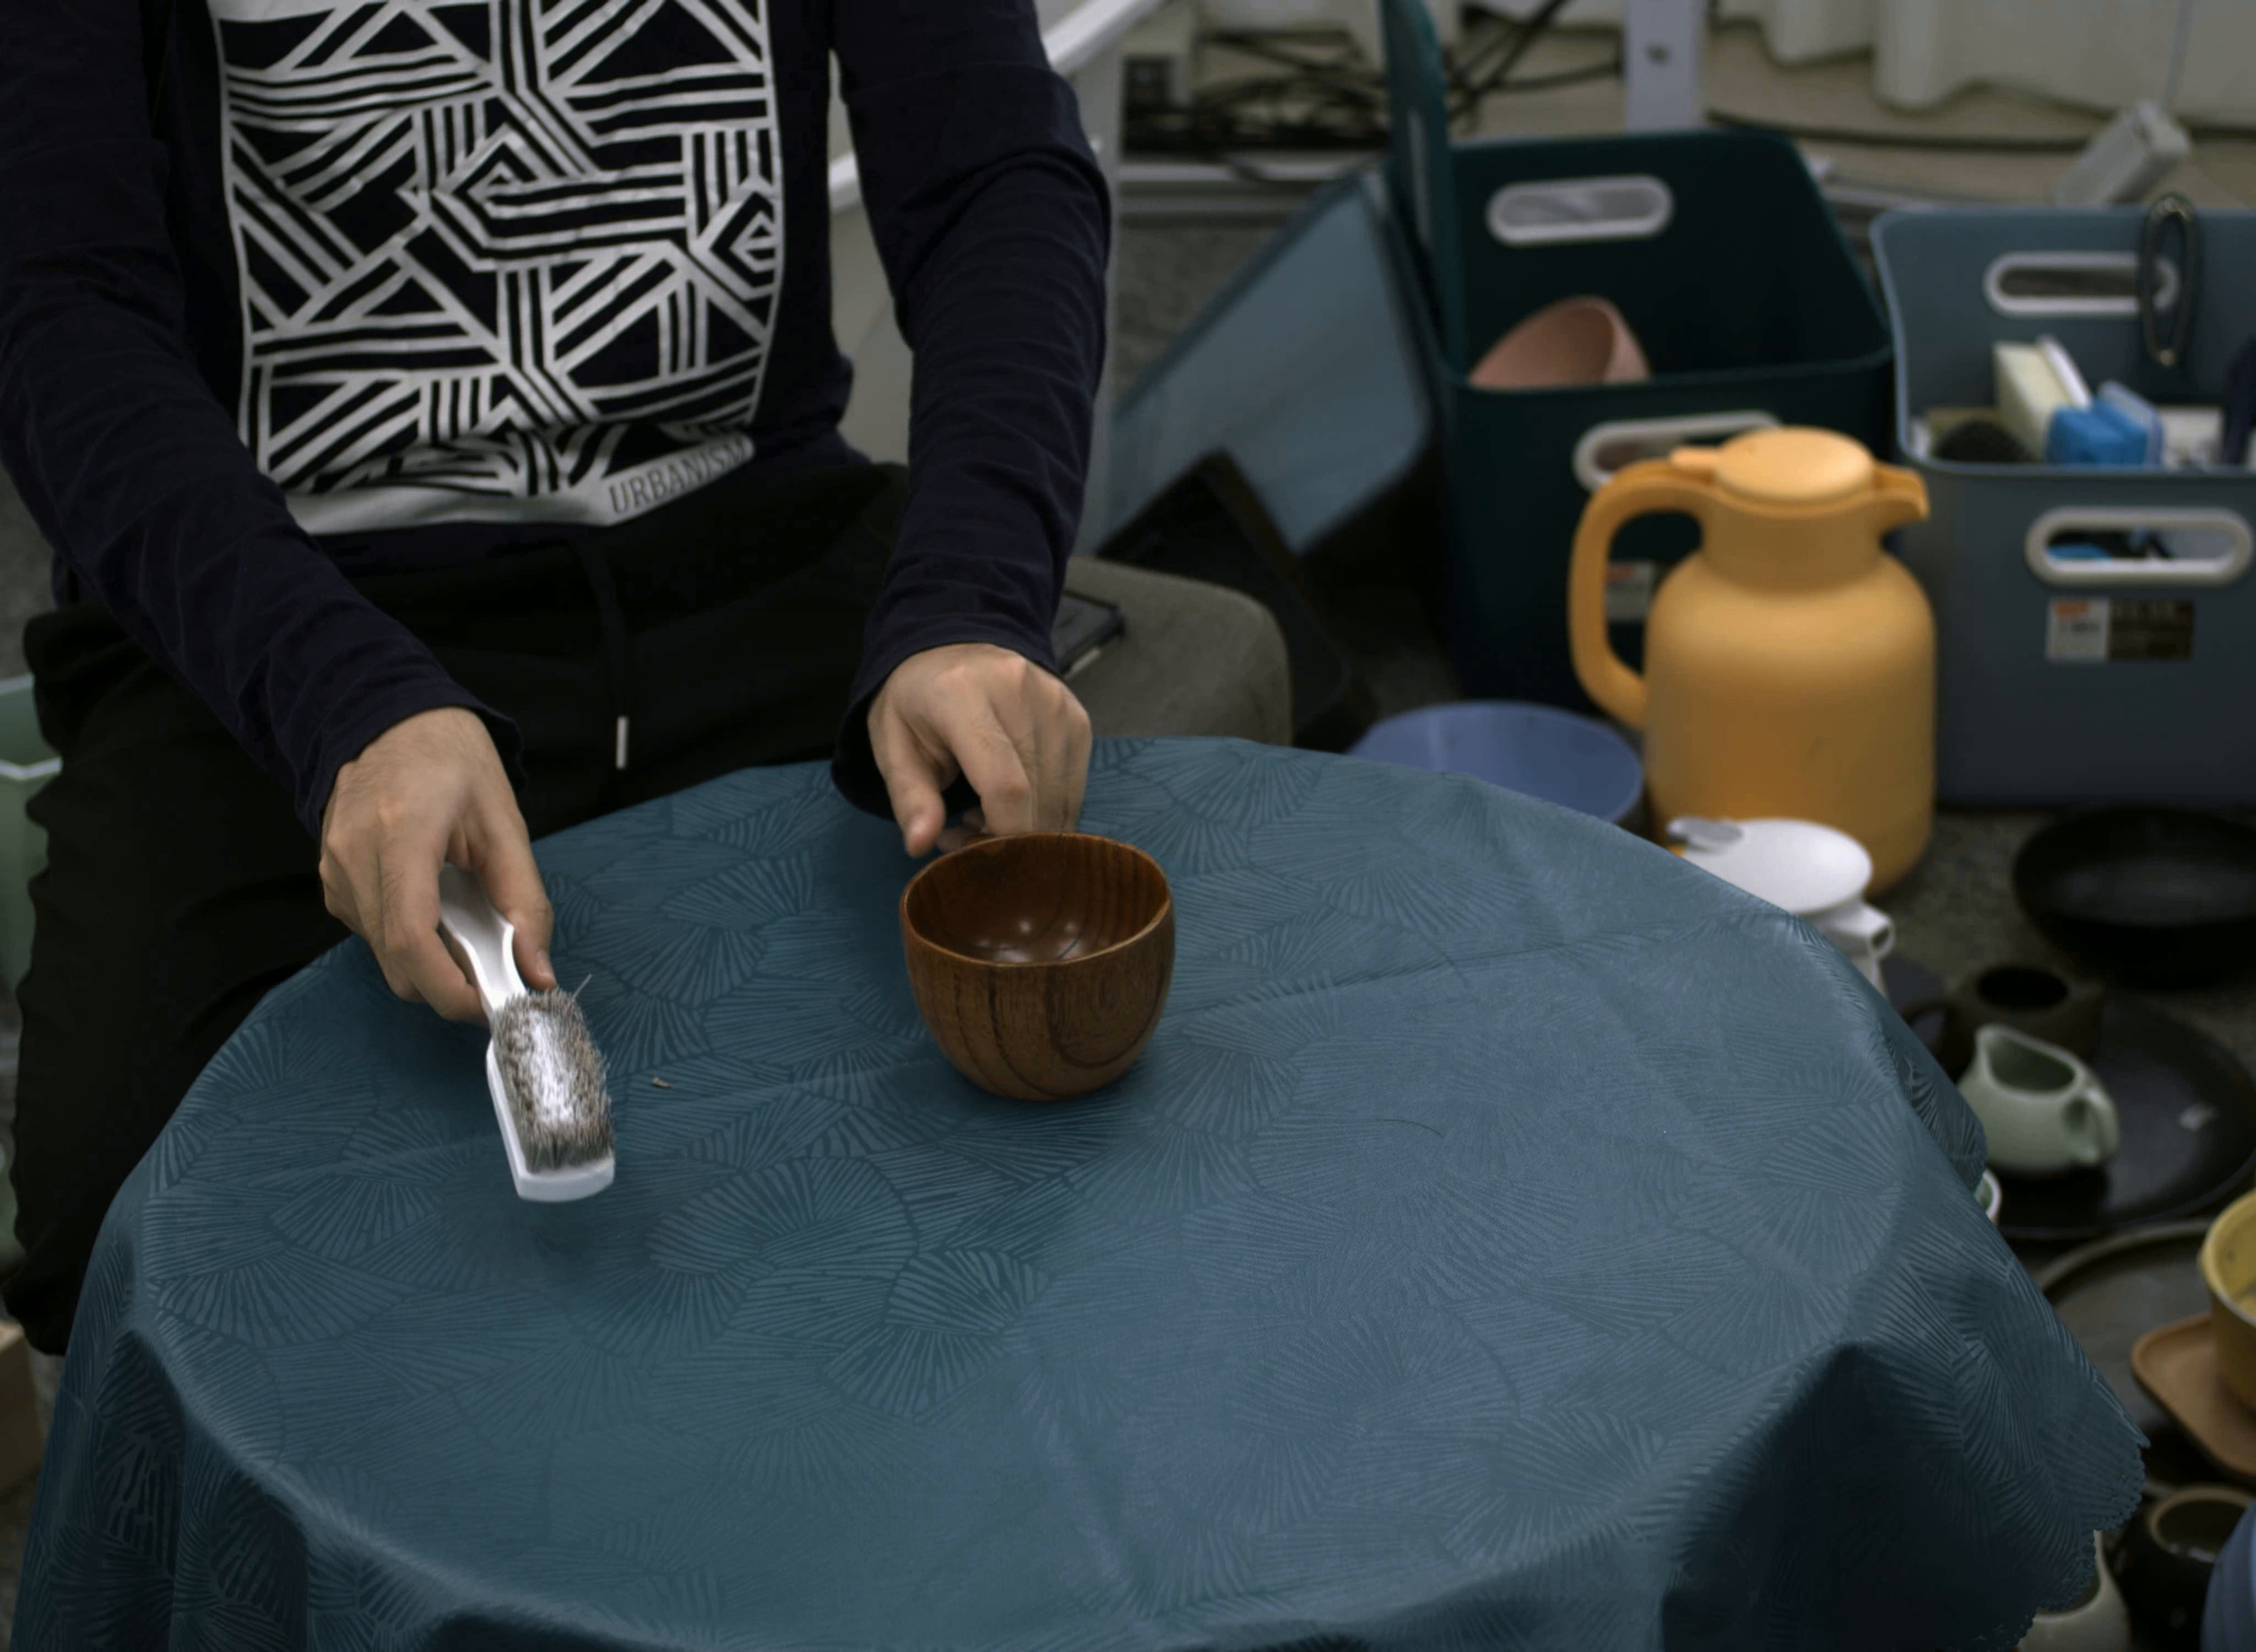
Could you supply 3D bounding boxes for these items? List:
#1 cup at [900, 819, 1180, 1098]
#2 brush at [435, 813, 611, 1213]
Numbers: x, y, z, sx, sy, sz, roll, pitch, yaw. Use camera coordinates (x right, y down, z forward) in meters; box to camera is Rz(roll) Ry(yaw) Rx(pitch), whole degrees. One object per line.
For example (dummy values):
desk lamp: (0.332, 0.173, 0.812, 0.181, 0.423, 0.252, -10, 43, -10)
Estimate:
cup: (-0.033, 0.044, 1.937, 0.096, 0.067, 0.120, -14, 31, -18)
brush: (-0.210, 0.047, 1.908, 0.034, 0.049, 0.247, -10, 34, -10)
